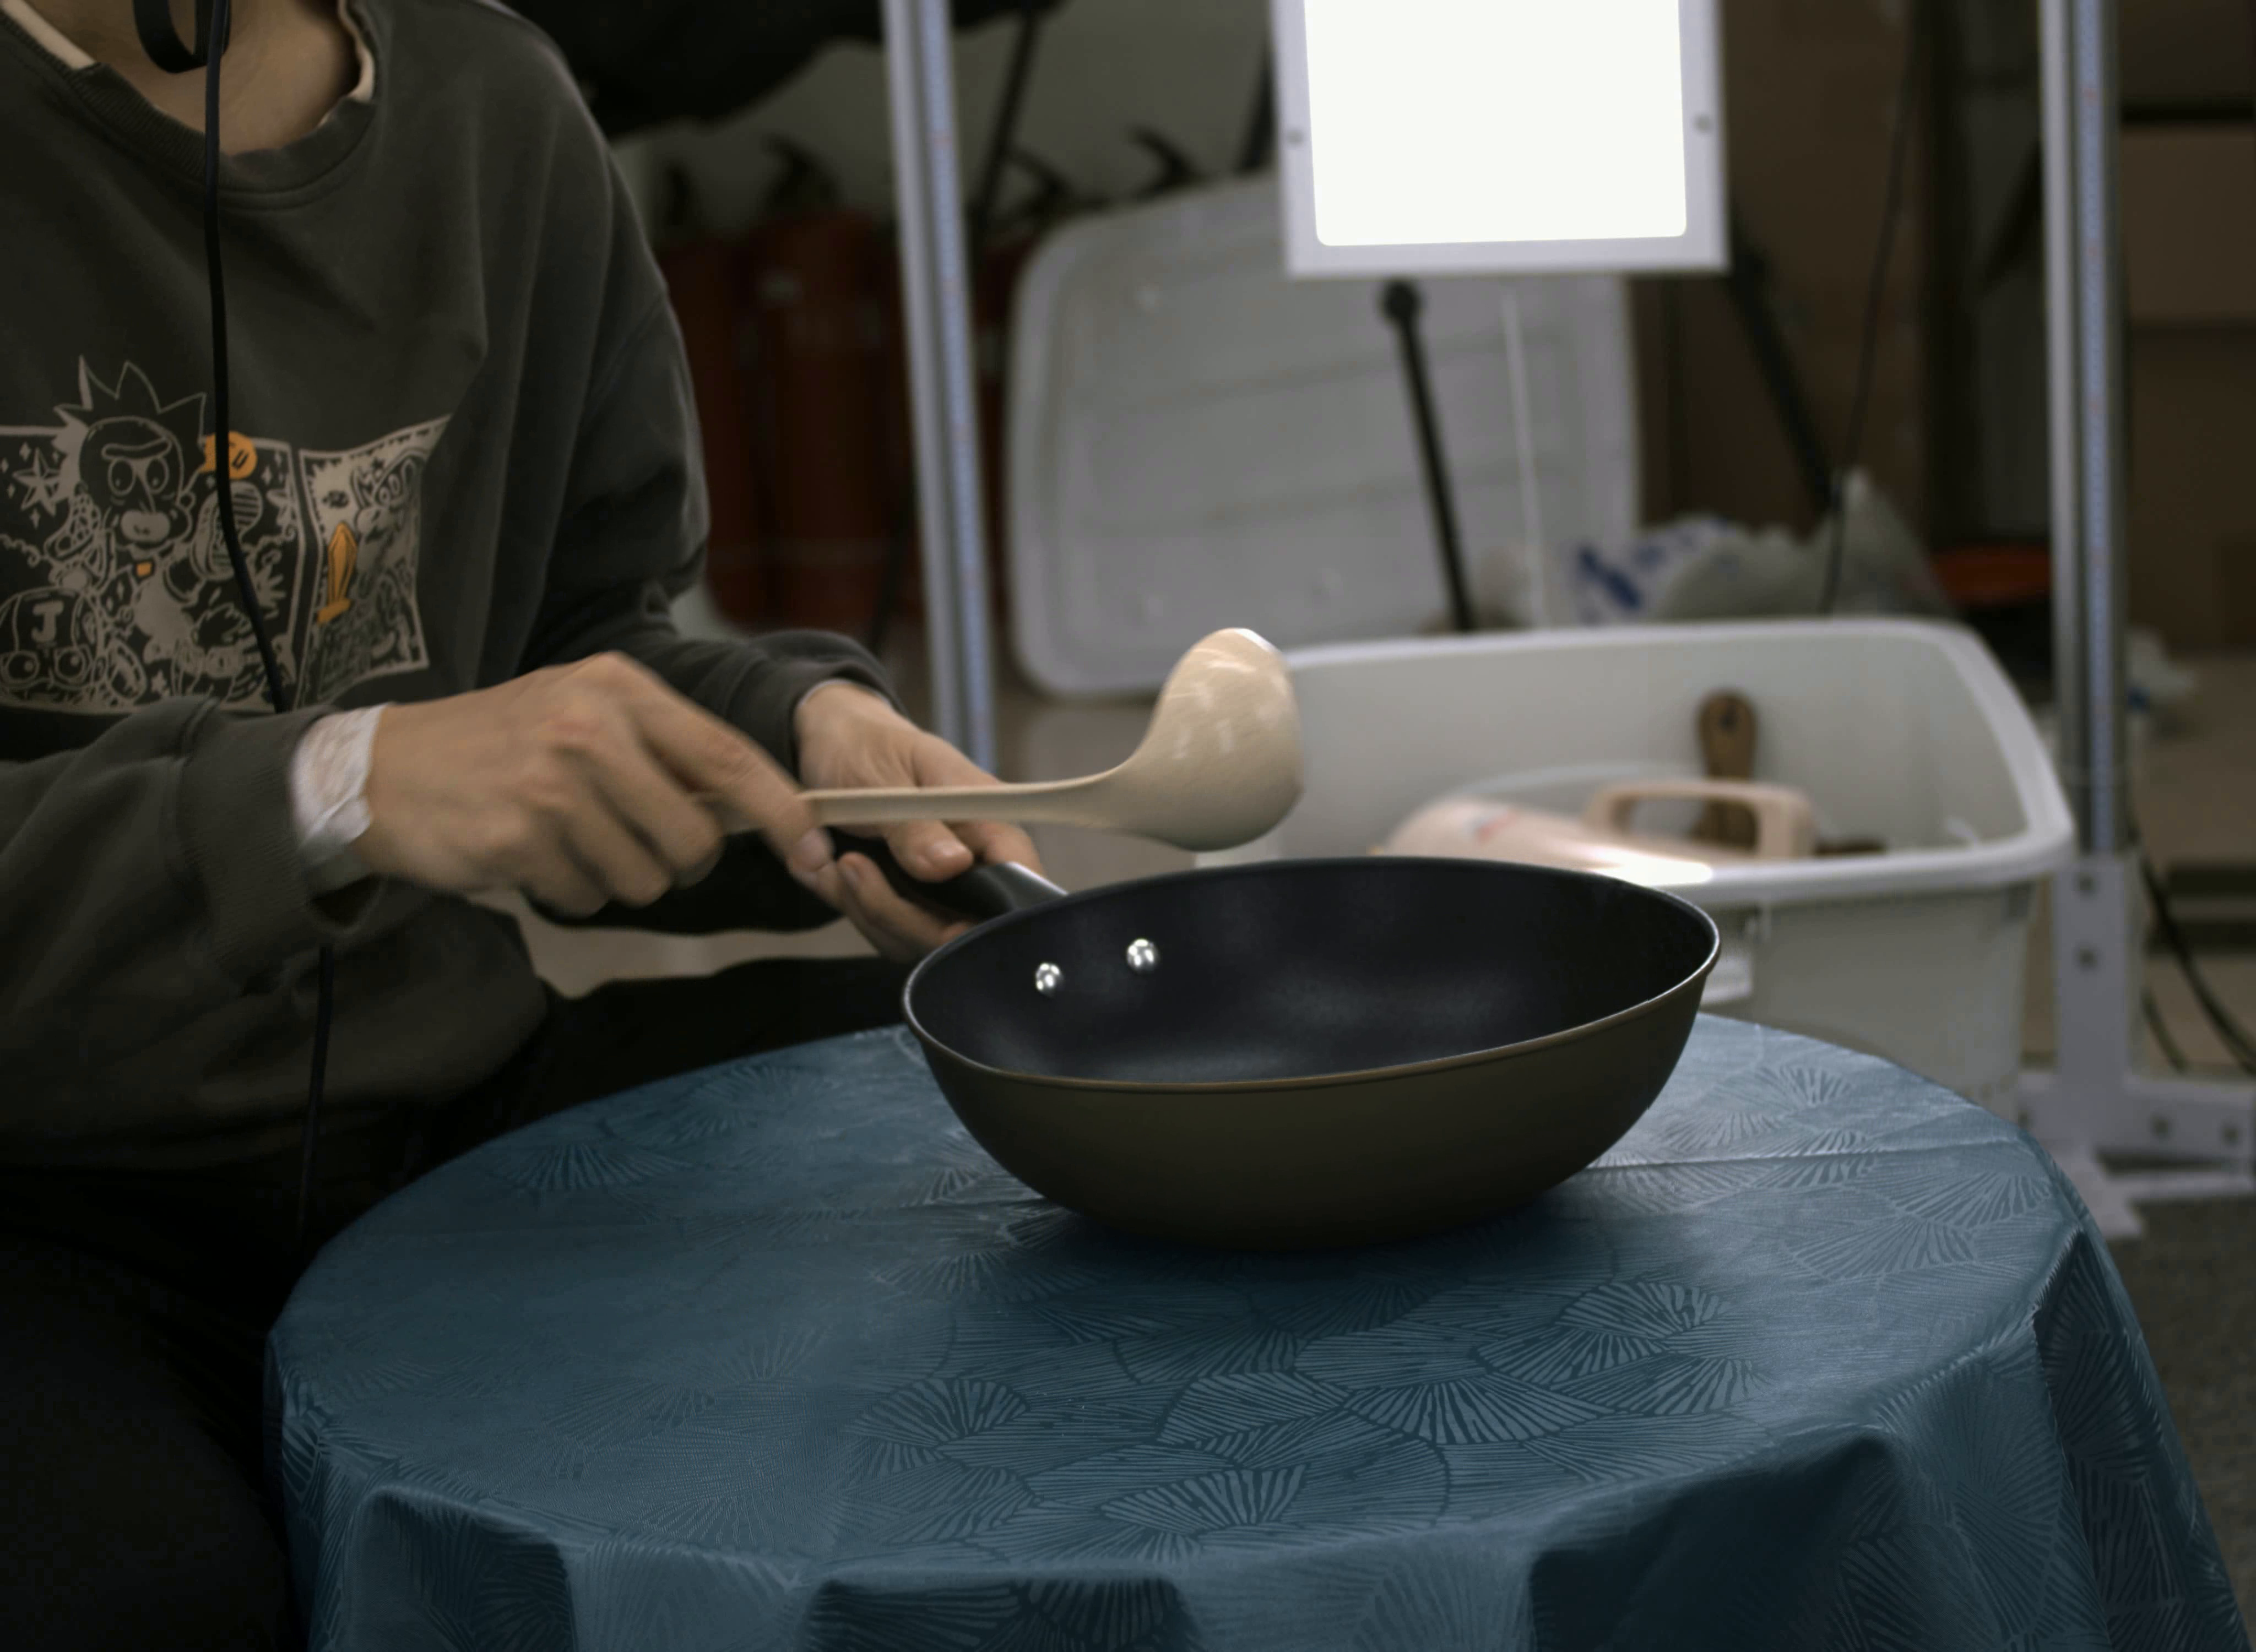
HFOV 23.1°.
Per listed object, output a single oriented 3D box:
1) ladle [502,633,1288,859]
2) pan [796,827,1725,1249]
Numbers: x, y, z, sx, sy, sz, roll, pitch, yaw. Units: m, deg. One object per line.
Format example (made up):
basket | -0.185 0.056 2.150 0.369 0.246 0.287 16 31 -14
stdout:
ladle | -0.074 -0.025 1.786 0.256 0.072 0.072 -1 42 14
pan | 0.011 0.070 1.949 0.281 0.087 0.473 -14 16 -33
